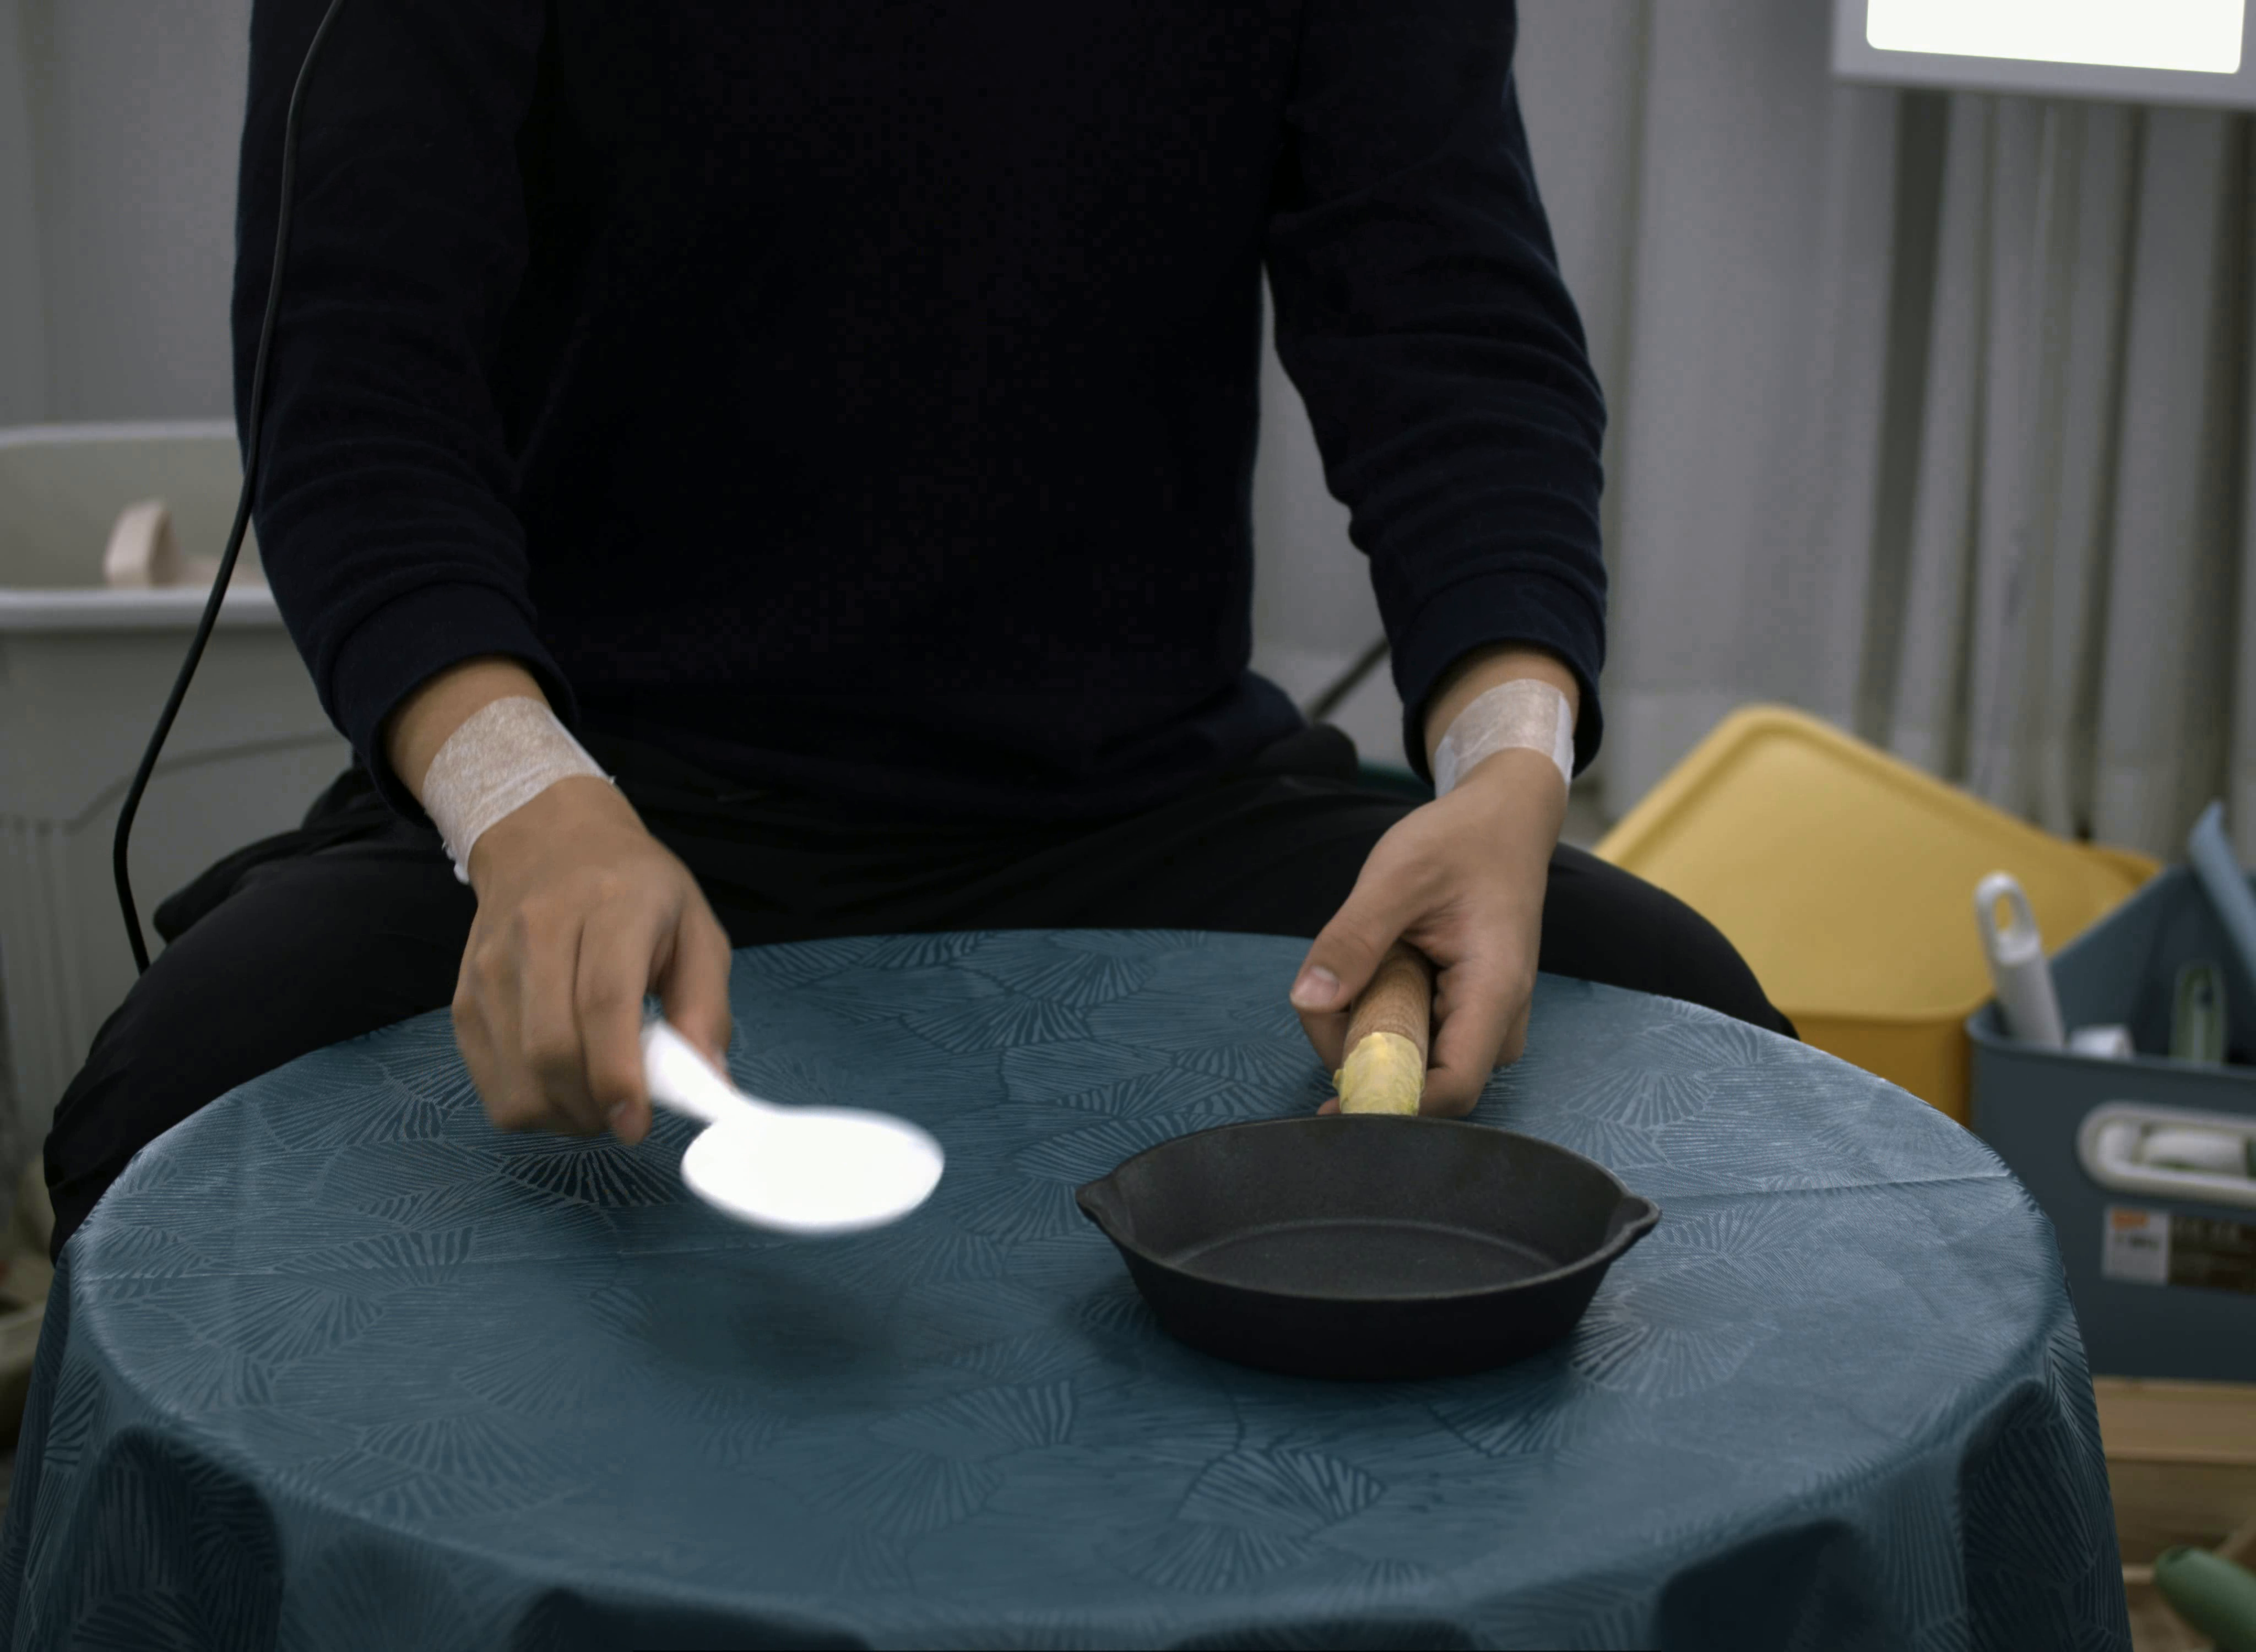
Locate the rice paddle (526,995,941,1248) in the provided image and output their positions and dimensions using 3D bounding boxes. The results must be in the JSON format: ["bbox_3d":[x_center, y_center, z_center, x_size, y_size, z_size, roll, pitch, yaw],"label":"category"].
[{"bbox_3d":[-0.120,0.088,1.542,0.069,0.030,0.202,-15,20,-28],"label":"rice paddle"}]

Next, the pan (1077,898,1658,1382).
[{"bbox_3d":[0.079,0.092,1.603,0.168,0.050,0.323,2,17,6],"label":"pan"}]
